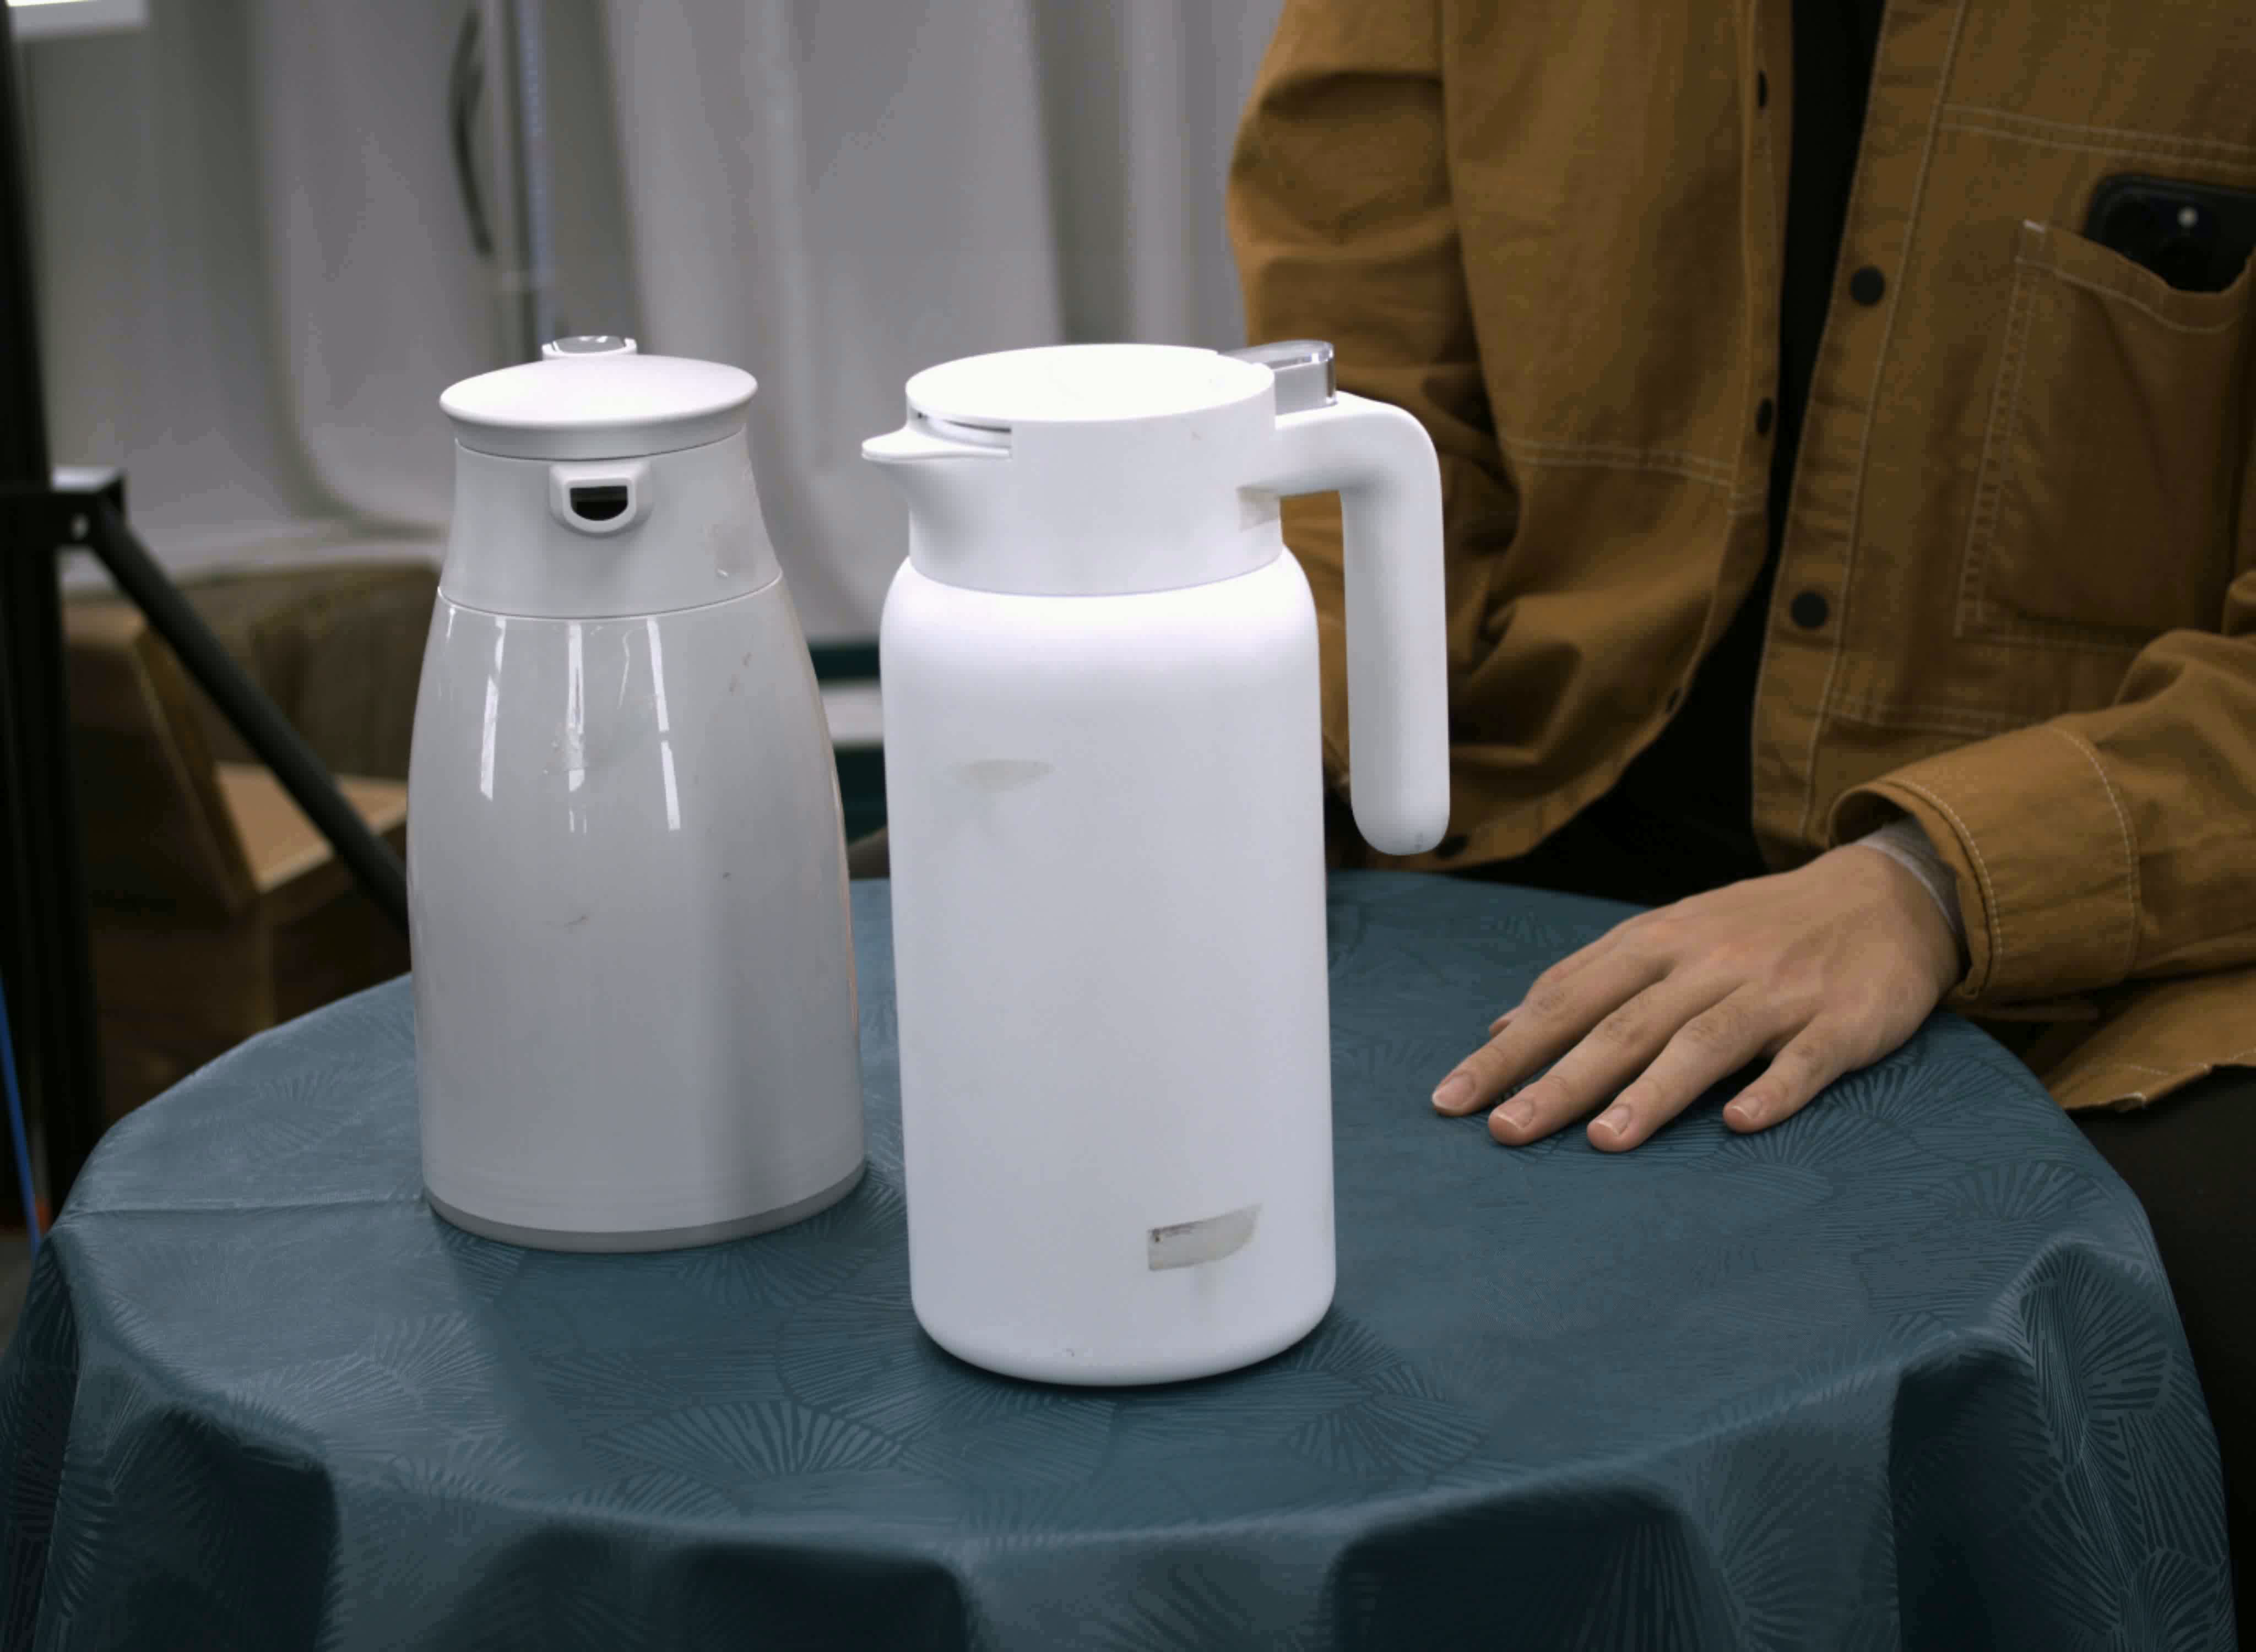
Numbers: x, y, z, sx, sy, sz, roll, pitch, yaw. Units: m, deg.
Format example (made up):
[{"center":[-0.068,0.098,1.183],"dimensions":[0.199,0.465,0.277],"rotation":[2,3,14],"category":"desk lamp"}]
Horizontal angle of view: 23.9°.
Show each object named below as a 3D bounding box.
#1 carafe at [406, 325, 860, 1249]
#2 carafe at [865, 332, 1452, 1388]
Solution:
[{"center":[-0.150,-0.020,1.576],"dimensions":[0.131,0.249,0.169],"rotation":[-3,14,-4],"category":"carafe"},{"center":[0.009,0.005,1.429],"dimensions":[0.169,0.269,0.126],"rotation":[-11,15,-30],"category":"carafe"}]
